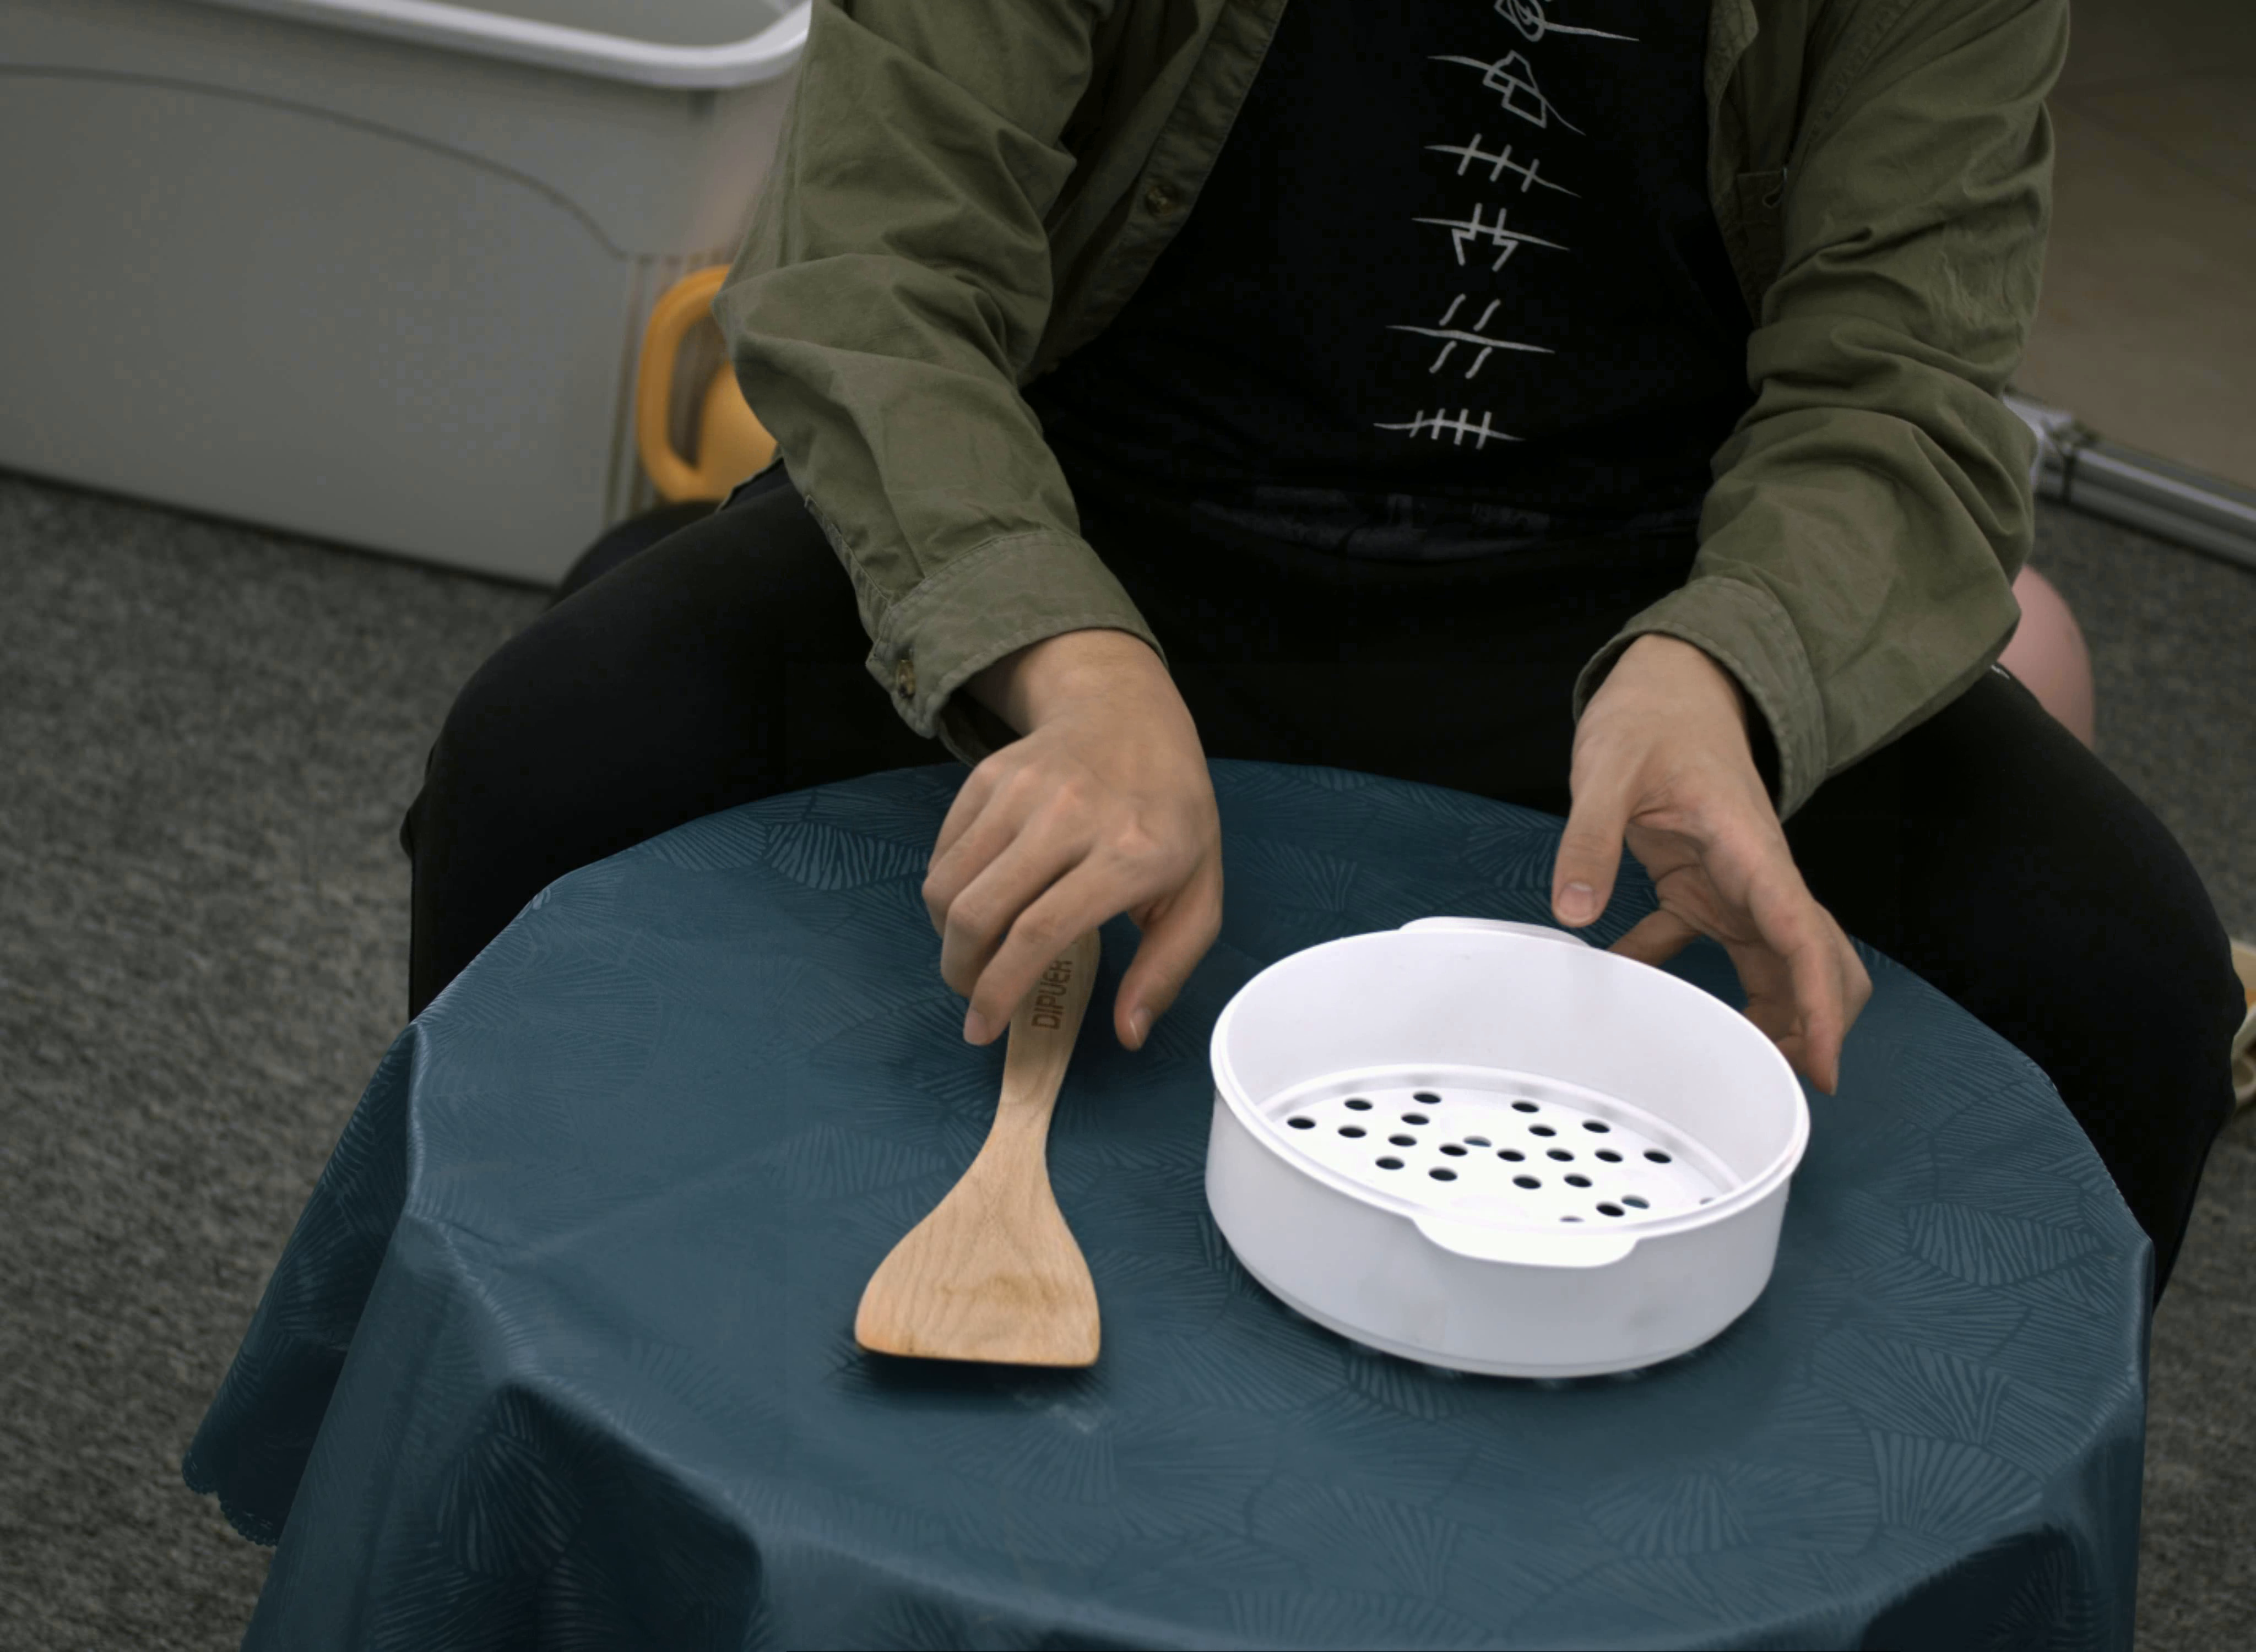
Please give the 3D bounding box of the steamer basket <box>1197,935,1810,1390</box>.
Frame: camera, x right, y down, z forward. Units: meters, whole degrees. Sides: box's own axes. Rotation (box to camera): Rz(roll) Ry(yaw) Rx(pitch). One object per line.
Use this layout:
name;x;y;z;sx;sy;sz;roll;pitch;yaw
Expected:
steamer basket;0.123;0.113;1.775;0.201;0.069;0.232;6;25;-2

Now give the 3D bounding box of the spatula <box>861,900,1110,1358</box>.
spatula;-0.033;0.099;1.821;0.080;0.016;0.329;7;27;2
